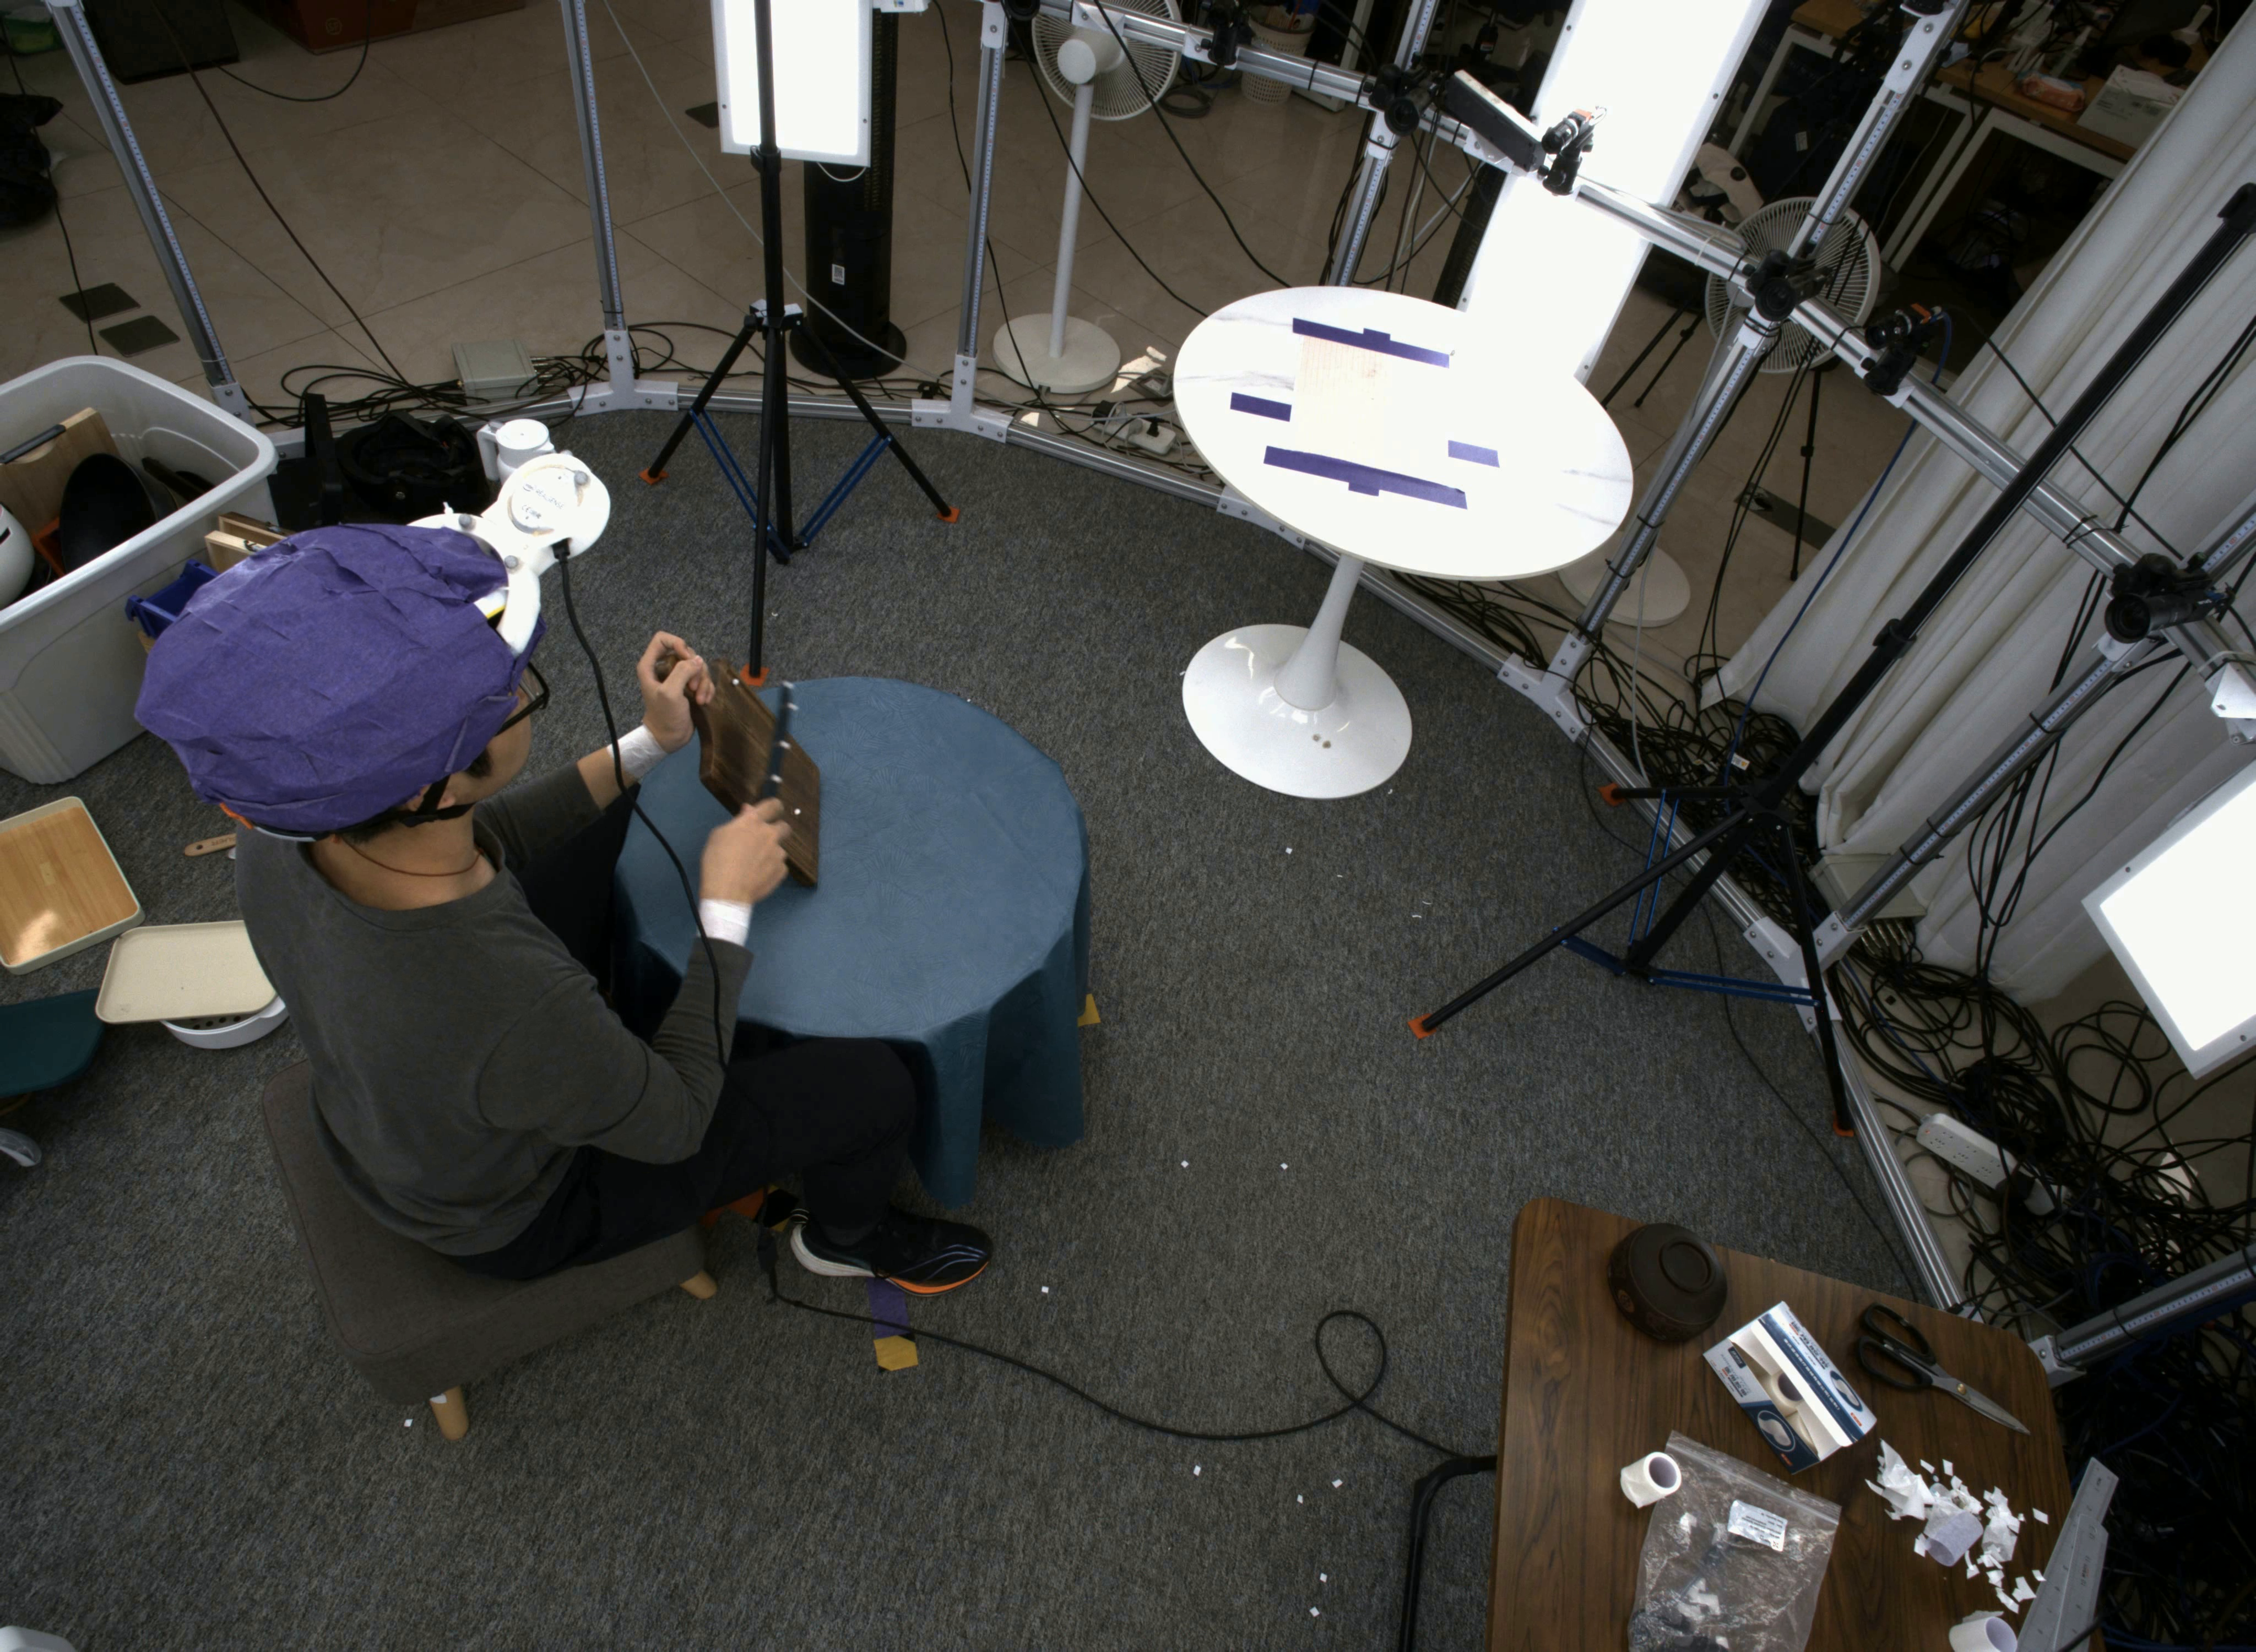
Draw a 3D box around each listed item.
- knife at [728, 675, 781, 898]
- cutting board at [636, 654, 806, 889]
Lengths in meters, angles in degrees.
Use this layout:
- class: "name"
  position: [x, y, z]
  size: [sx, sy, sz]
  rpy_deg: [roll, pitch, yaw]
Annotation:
- class: "knife"
  position: [-0.432, -0.047, 1.510]
  size: [0.020, 0.083, 0.296]
  rpy_deg: [1, 51, -2]
- class: "cutting board"
  position: [-0.492, -0.091, 1.580]
  size: [0.023, 0.365, 0.197]
  rpy_deg: [-17, 54, 10]
